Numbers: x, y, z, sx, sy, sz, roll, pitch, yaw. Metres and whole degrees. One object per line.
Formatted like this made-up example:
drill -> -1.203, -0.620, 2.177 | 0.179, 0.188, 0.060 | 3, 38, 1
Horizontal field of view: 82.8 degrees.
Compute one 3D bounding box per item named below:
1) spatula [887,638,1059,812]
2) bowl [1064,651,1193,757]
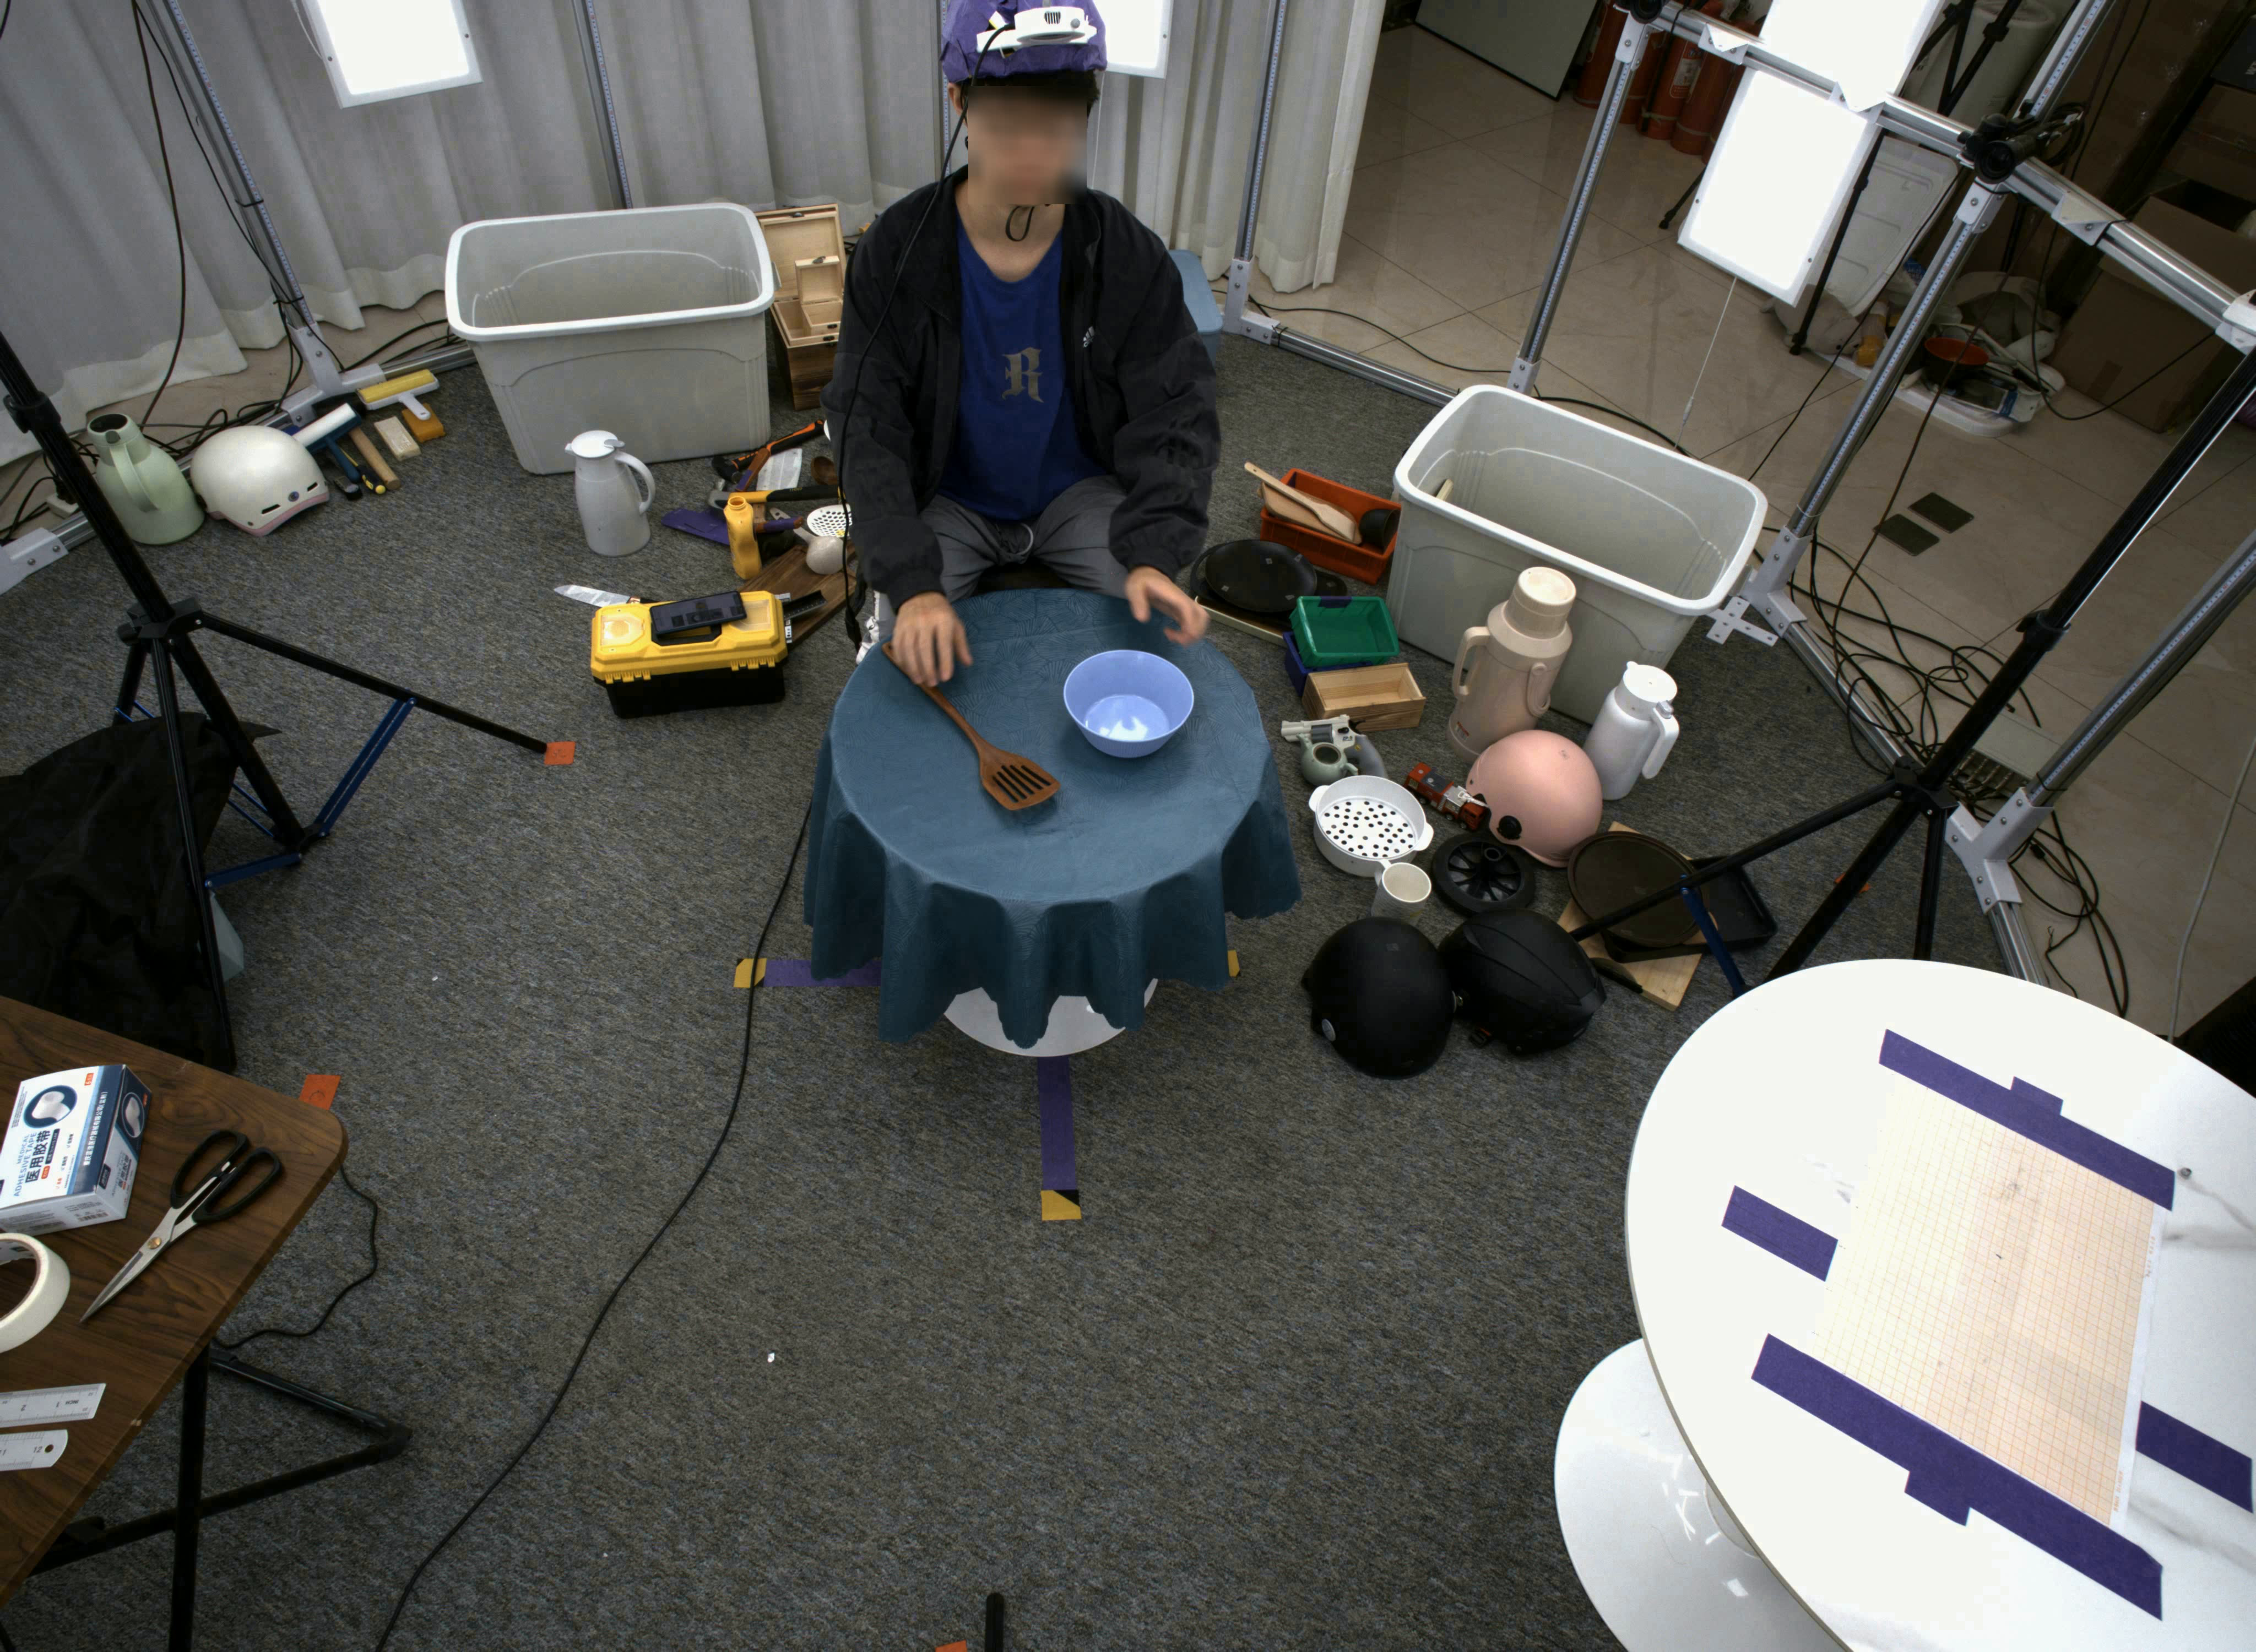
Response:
spatula -> -0.230, -0.146, 1.771 | 0.086, 0.023, 0.394 | -26, 55, -25
bowl -> -0.001, -0.158, 1.764 | 0.176, 0.068, 0.180 | 2, 49, -2
